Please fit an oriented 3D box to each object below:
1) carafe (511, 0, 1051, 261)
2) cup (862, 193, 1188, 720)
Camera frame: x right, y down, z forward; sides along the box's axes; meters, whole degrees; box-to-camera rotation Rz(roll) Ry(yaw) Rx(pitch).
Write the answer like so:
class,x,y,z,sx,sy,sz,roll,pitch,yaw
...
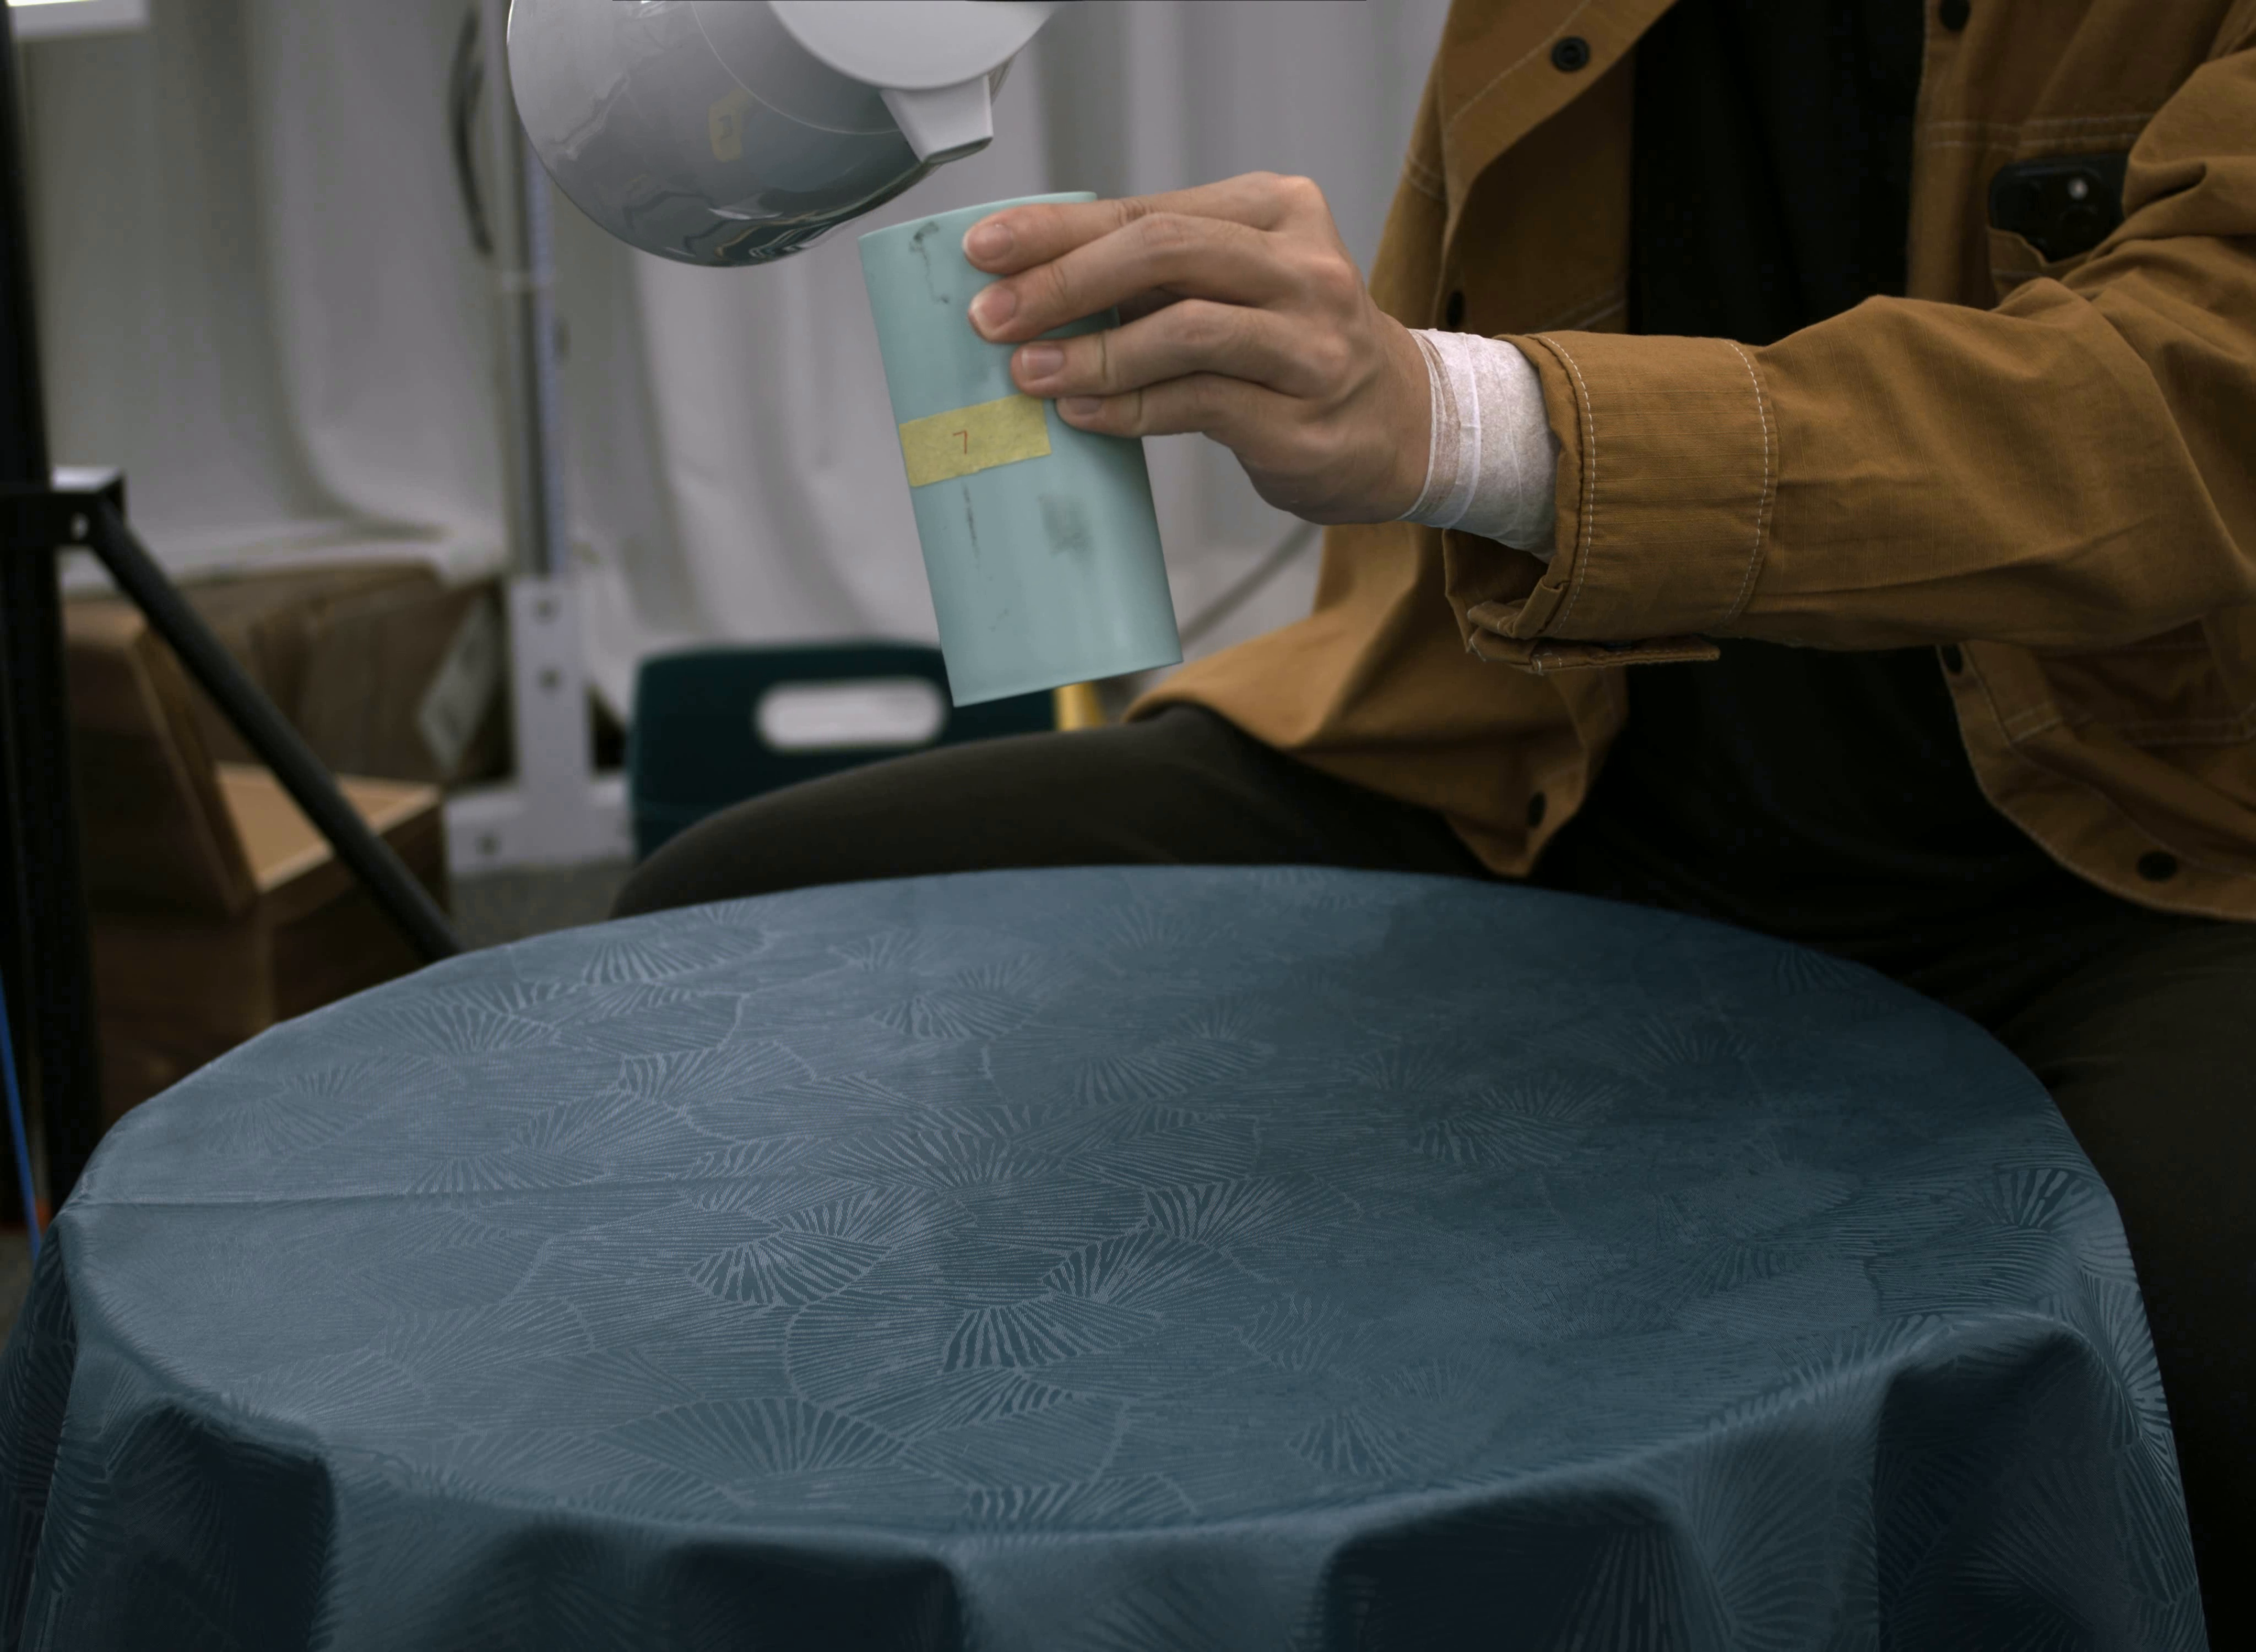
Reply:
class,x,y,z,sx,sy,sz,roll,pitch,yaw
carafe,-0.099,-0.260,1.538,0.131,0.168,0.251,-19,4,-15
cup,-0.026,-0.100,1.444,0.066,0.133,0.067,-11,1,-1
